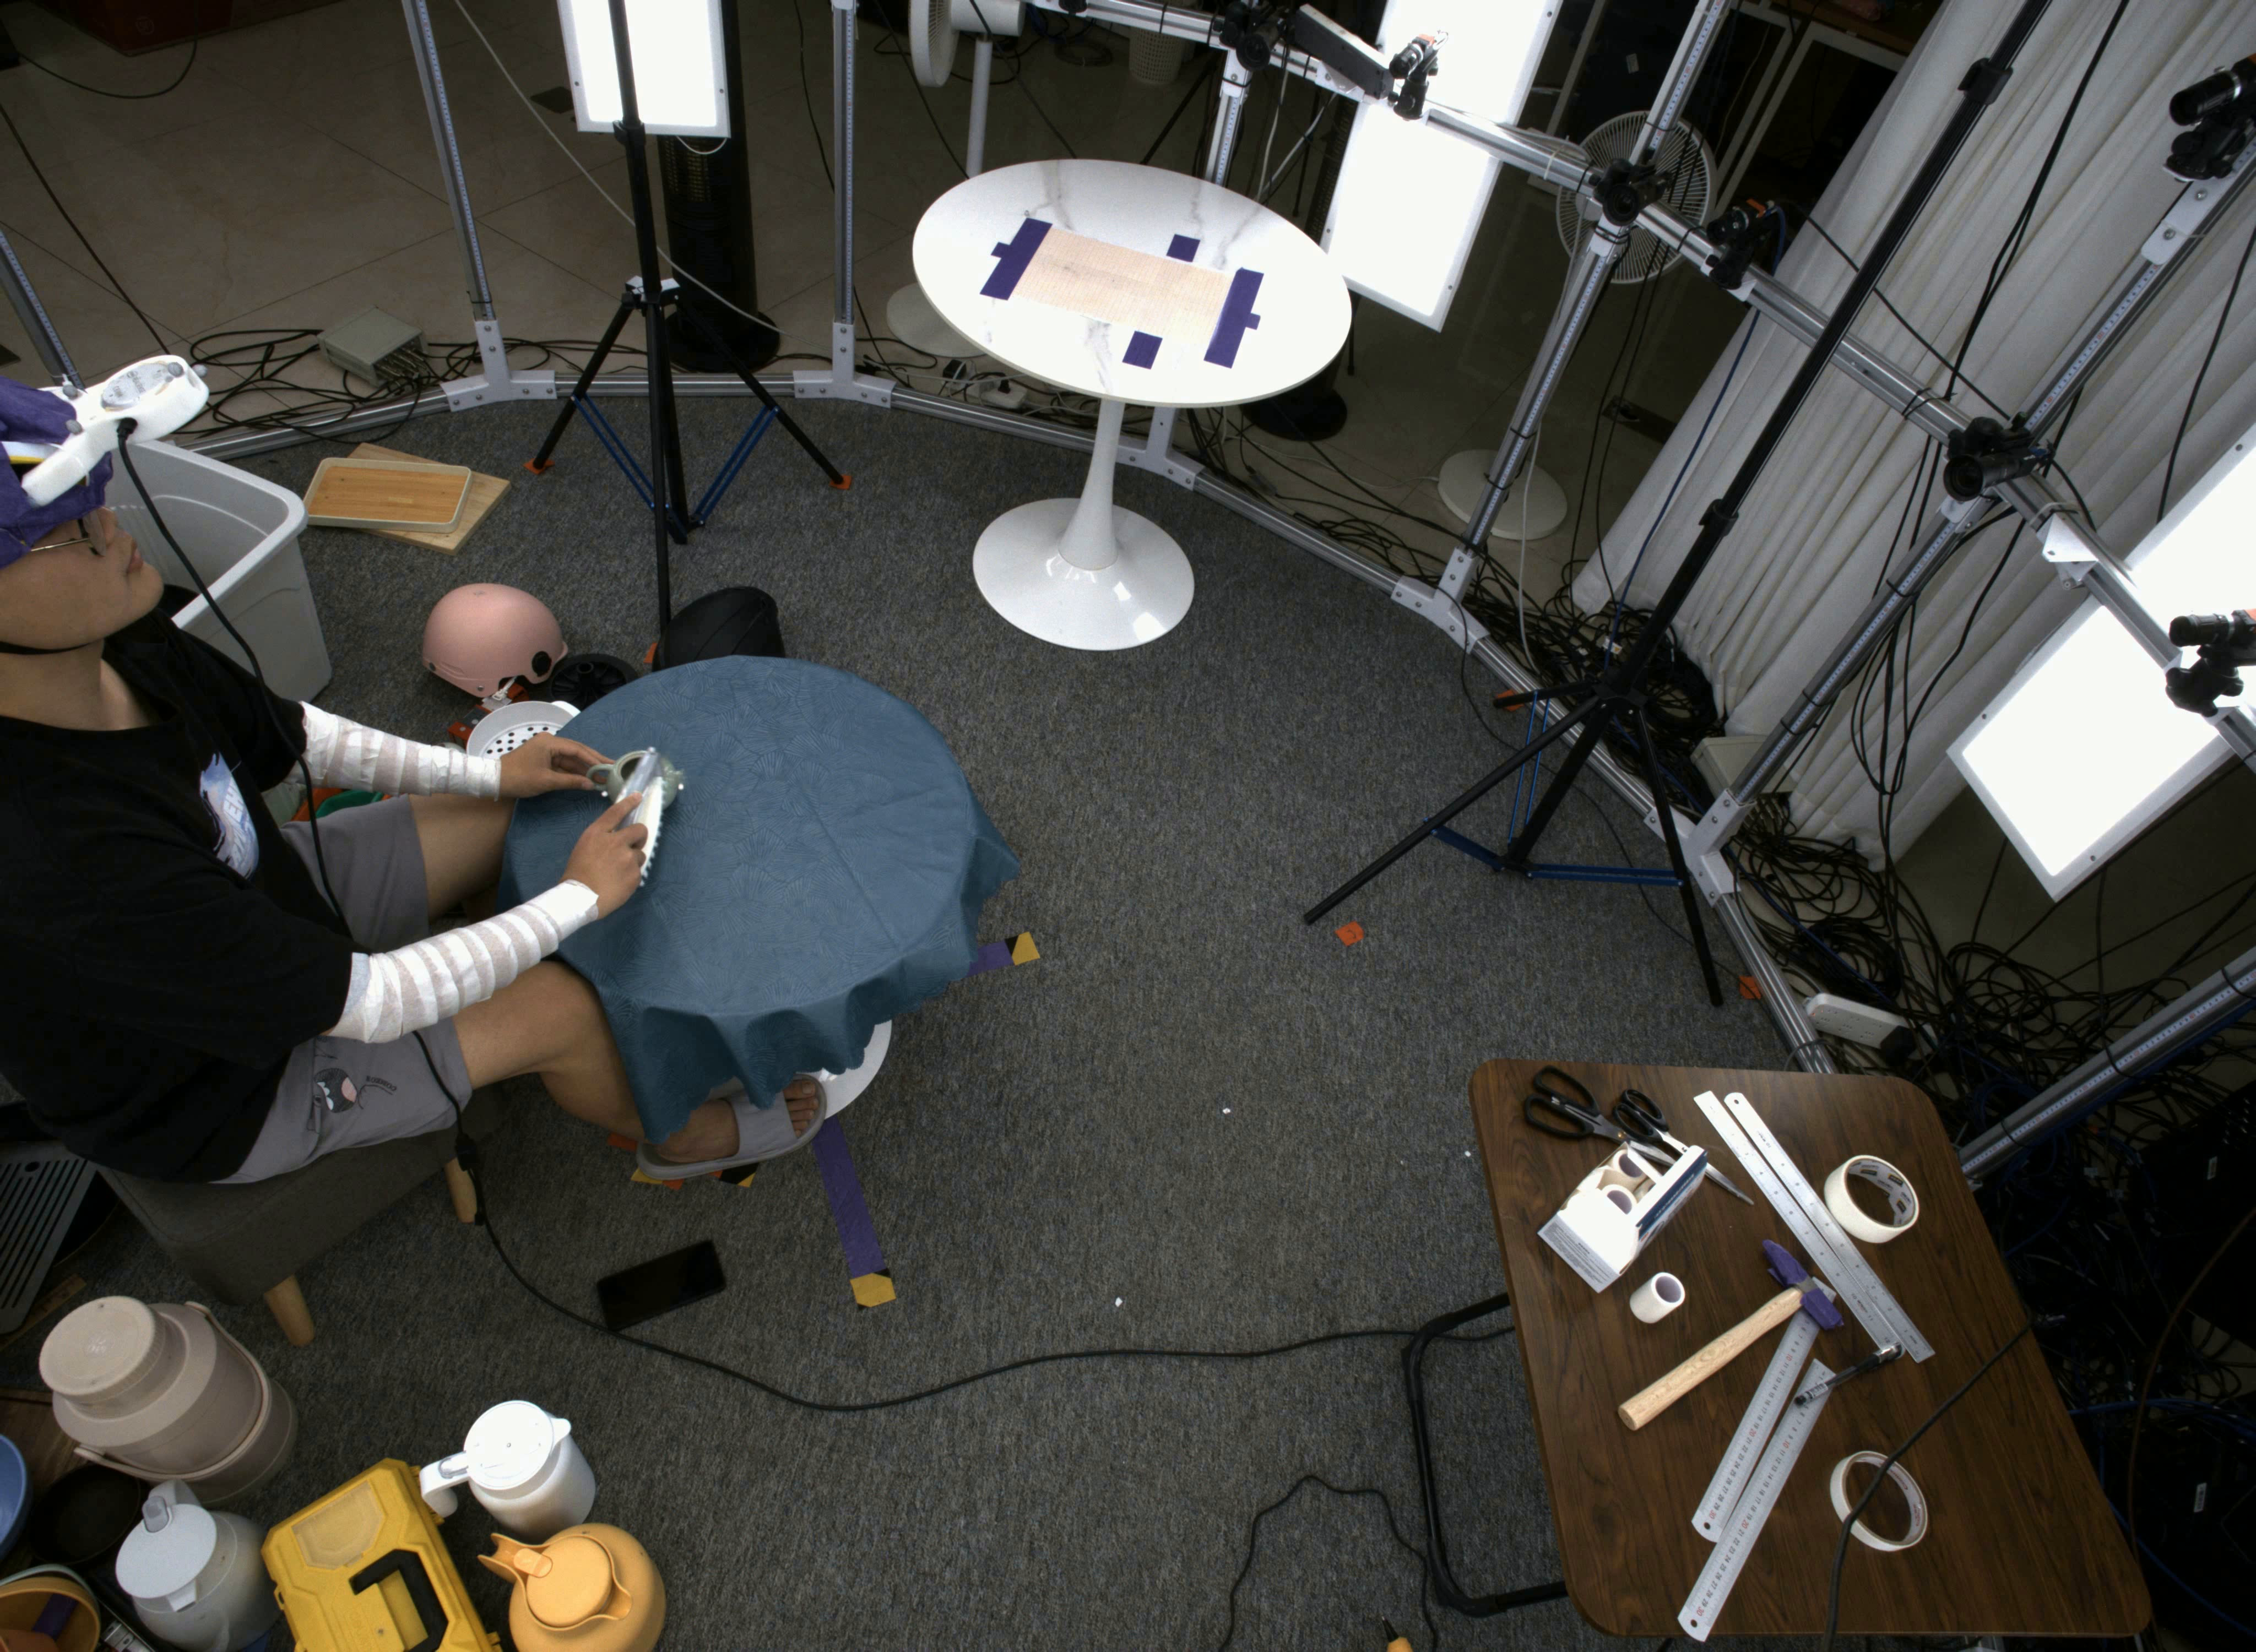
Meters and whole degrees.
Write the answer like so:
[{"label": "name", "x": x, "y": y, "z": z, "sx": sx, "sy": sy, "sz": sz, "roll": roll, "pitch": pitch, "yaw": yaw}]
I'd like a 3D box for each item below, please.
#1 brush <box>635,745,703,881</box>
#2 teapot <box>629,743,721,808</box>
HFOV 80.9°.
[{"label": "brush", "x": -0.569, "y": -0.029, "z": 1.613, "sx": 0.061, "sy": 0.094, "sz": 0.175, "roll": 17, "pitch": 71, "yaw": -10}, {"label": "teapot", "x": -0.600, "y": -0.066, "z": 1.701, "sx": 0.128, "sy": 0.062, "sz": 0.090, "roll": 11, "pitch": 53, "yaw": -5}]
